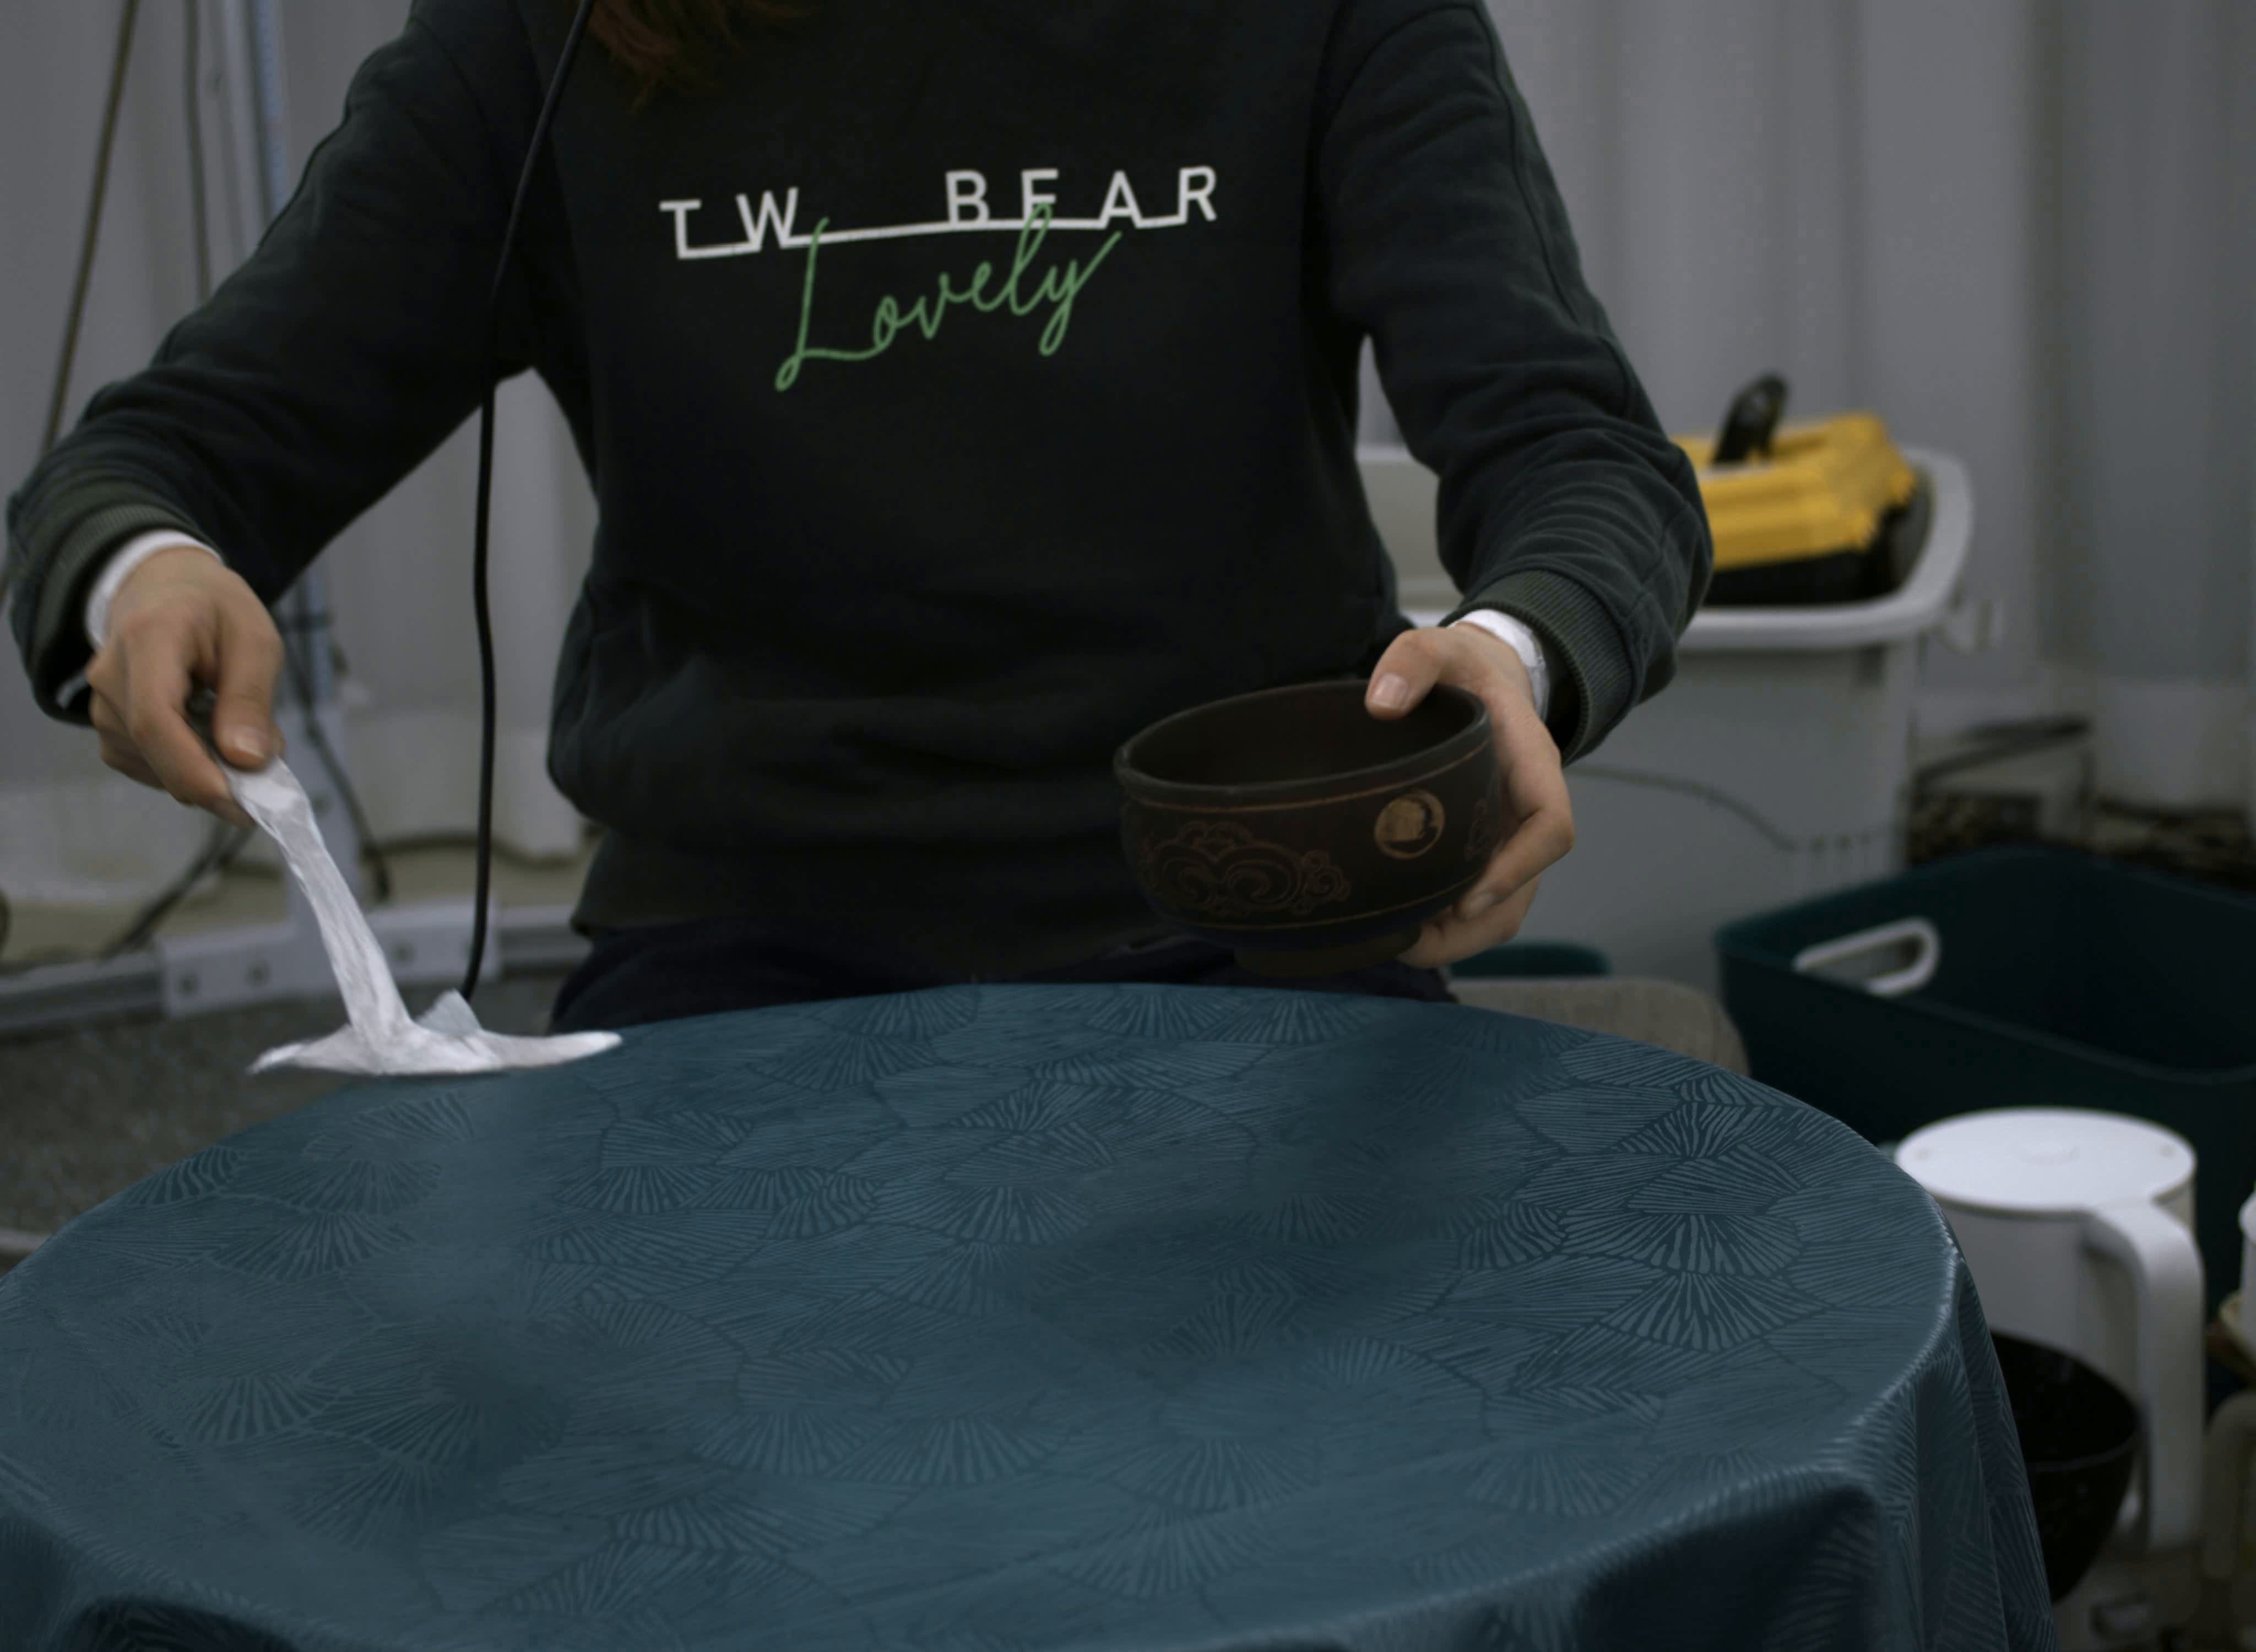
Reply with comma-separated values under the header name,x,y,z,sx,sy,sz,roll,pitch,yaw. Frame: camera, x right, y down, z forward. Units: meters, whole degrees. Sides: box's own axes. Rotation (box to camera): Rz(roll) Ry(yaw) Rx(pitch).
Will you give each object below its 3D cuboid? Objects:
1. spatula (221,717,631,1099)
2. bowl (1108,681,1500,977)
name,x,y,z,sx,sy,sz,roll,pitch,yaw
spatula,-0.236,0.017,1.656,0.098,0.044,0.369,-5,24,-18
bowl,0.055,0.004,1.648,0.117,0.069,0.119,-6,15,1
